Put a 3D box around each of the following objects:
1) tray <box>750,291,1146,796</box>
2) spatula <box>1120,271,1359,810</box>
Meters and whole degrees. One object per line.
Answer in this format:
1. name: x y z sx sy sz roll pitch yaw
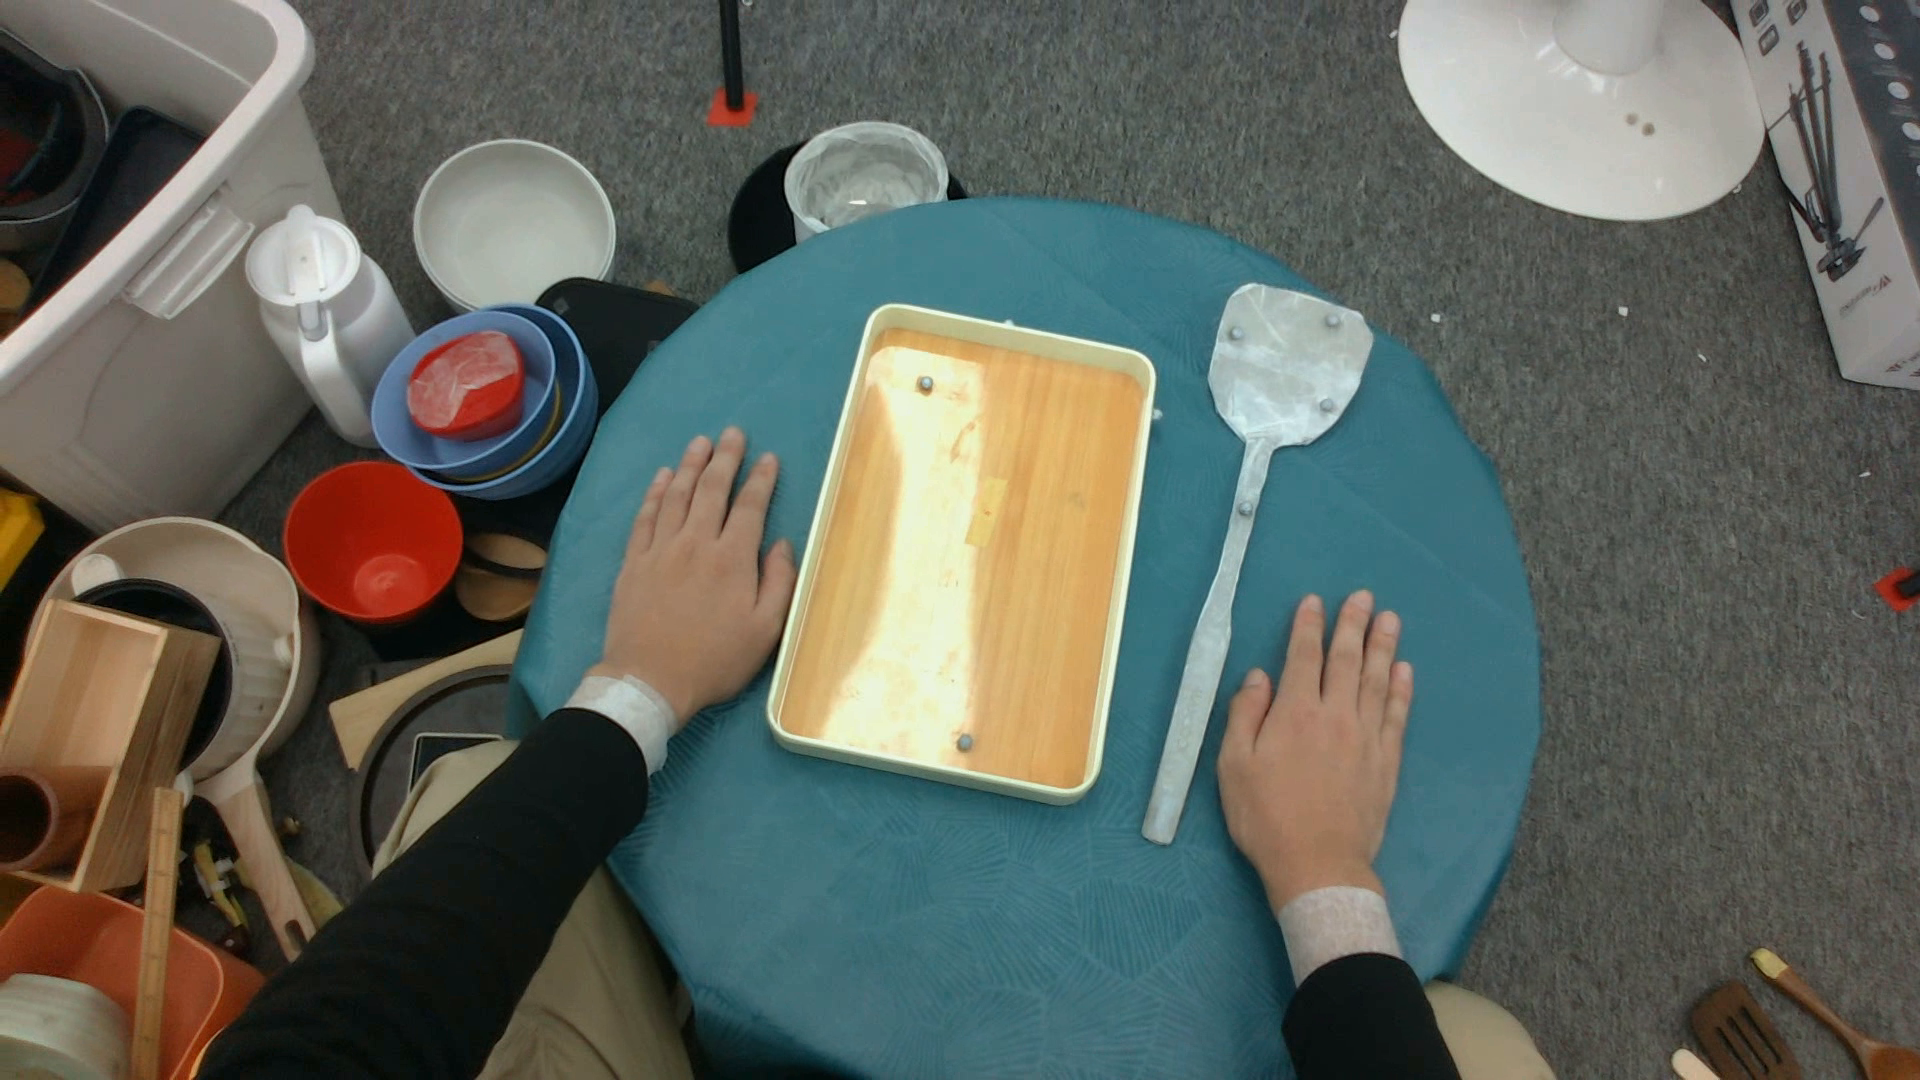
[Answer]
1. tray: 0.000 -0.008 0.830 0.191 0.027 0.301 12 64 0
2. spatula: 0.160 -0.007 0.838 0.098 0.044 0.366 19 64 3
